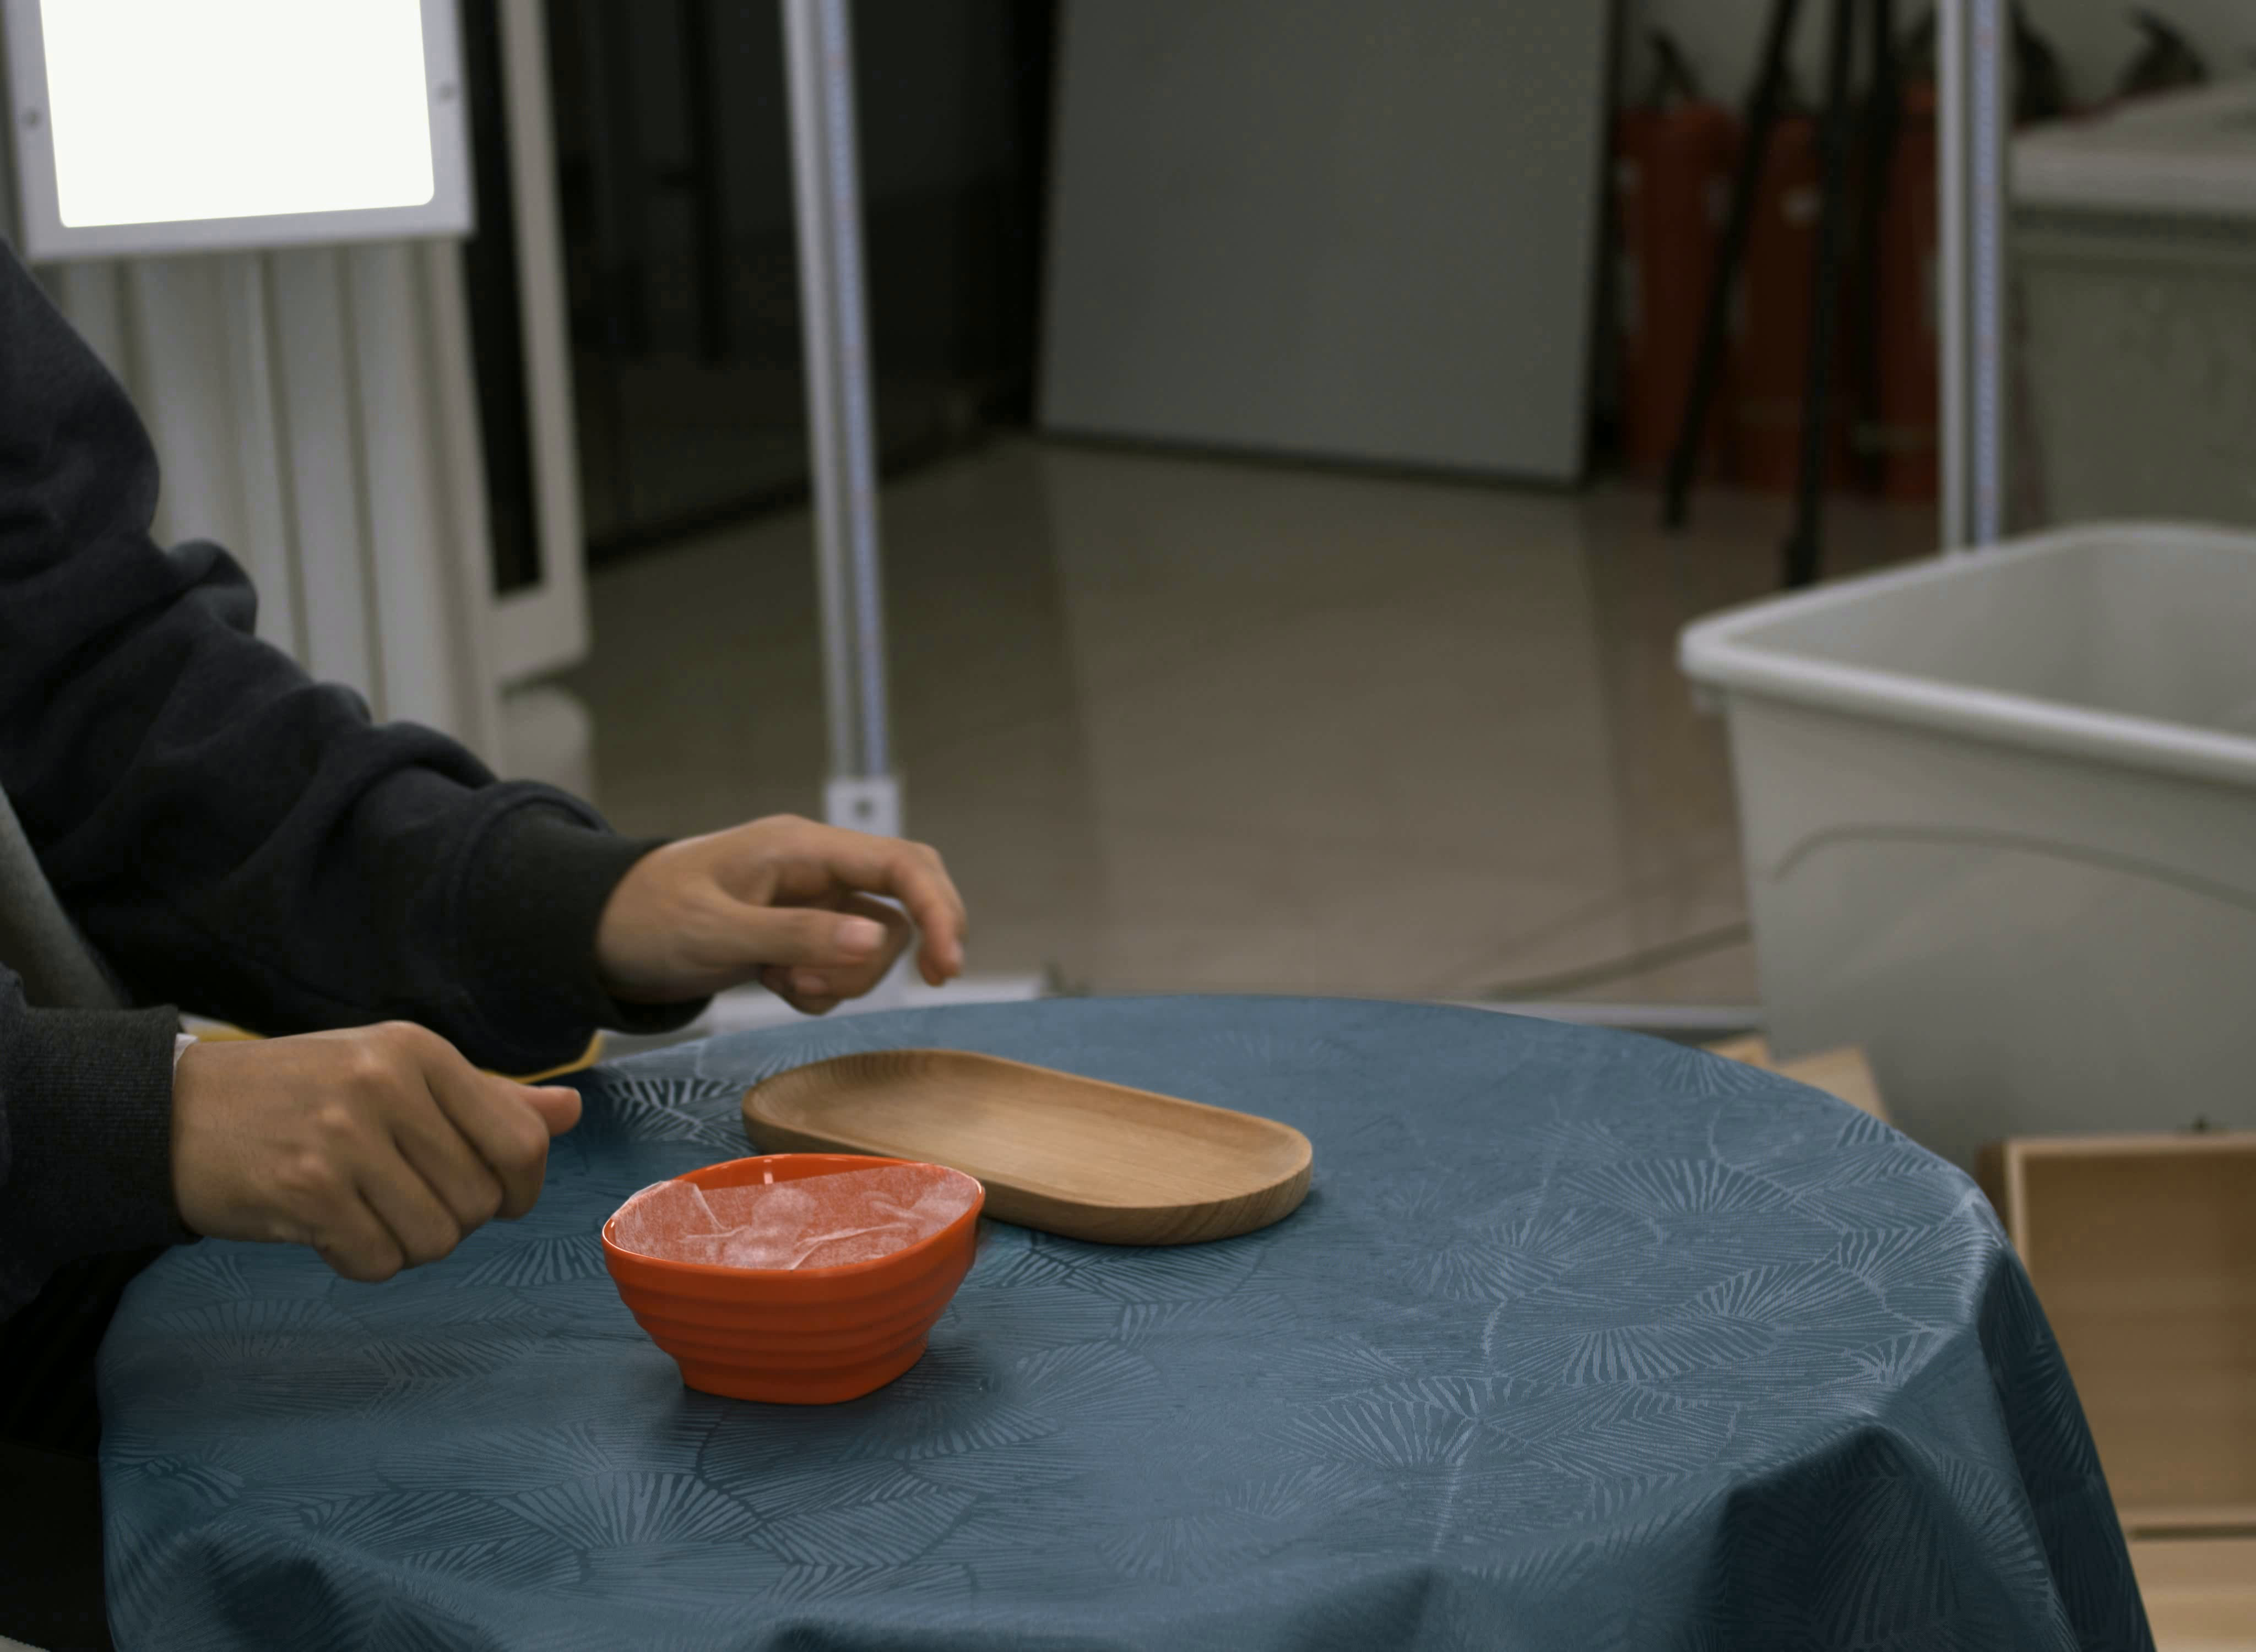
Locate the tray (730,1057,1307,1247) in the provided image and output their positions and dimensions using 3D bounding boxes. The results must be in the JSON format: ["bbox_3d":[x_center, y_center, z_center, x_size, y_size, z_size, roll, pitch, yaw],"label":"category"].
[{"bbox_3d":[-0.038,0.108,1.801,0.233,0.020,0.099,8,17,44],"label":"tray"}]

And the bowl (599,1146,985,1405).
[{"bbox_3d":[-0.098,0.137,1.619,0.117,0.052,0.119,-4,15,0],"label":"bowl"}]
